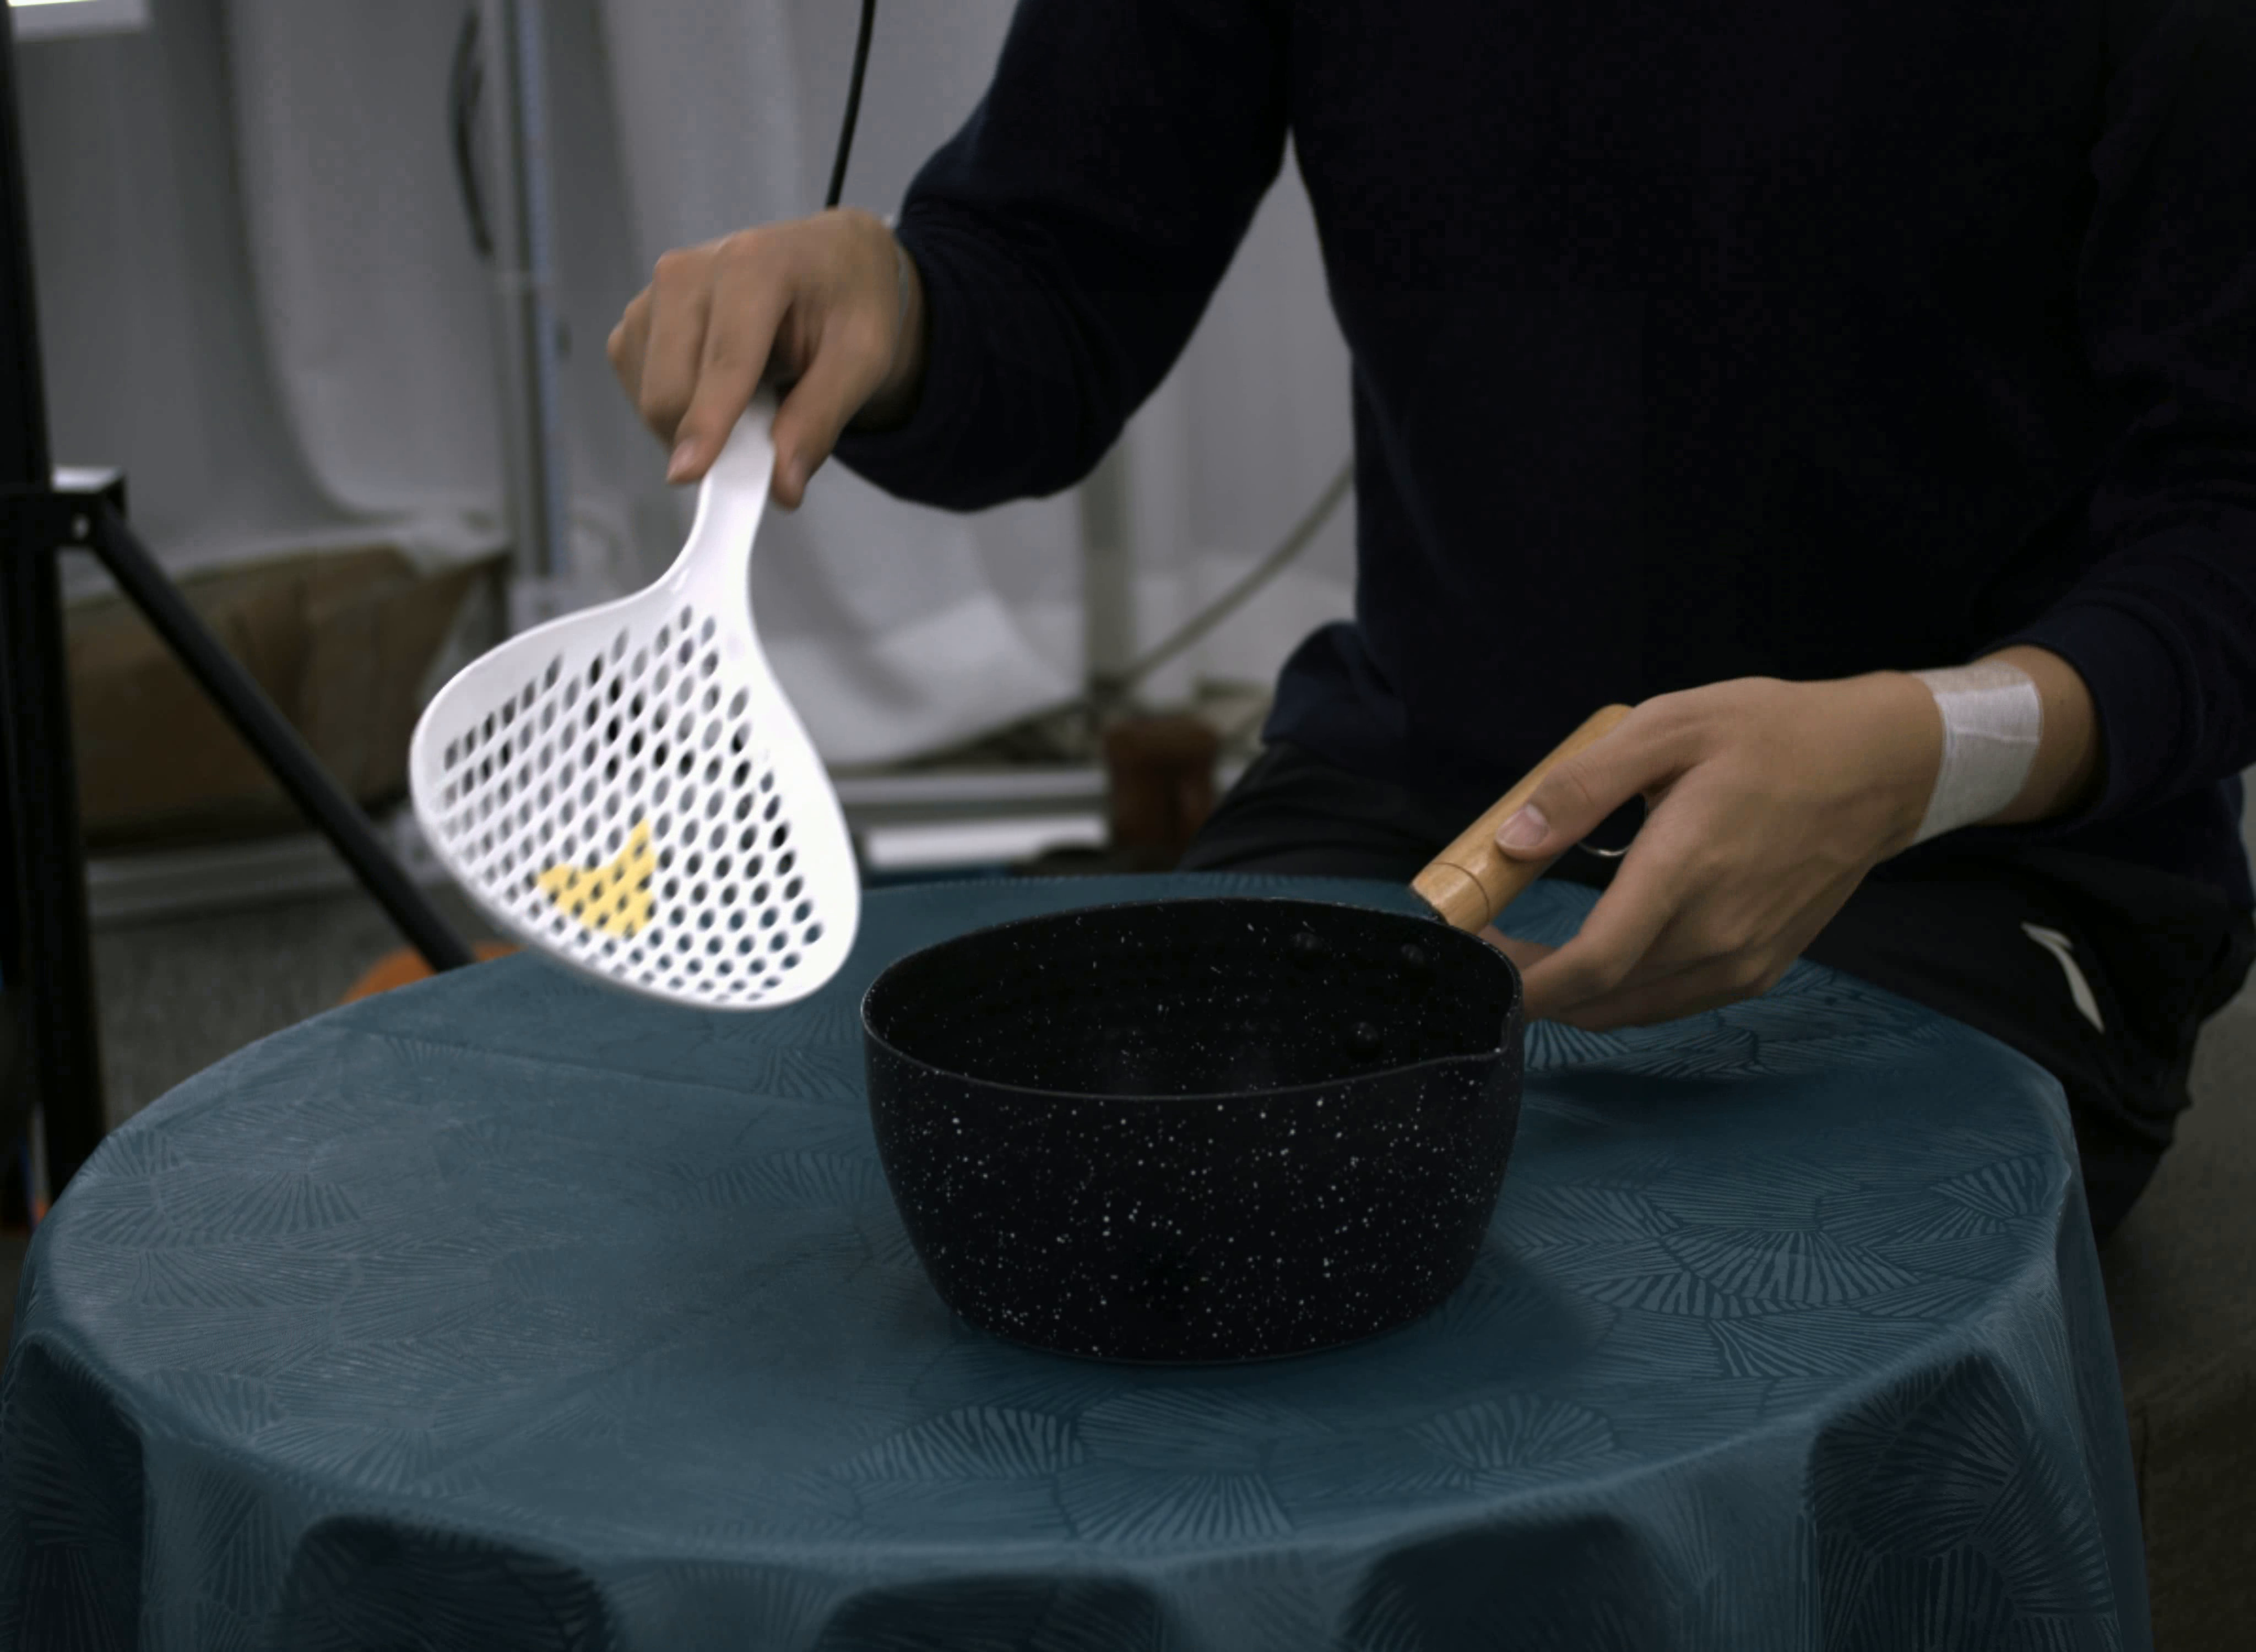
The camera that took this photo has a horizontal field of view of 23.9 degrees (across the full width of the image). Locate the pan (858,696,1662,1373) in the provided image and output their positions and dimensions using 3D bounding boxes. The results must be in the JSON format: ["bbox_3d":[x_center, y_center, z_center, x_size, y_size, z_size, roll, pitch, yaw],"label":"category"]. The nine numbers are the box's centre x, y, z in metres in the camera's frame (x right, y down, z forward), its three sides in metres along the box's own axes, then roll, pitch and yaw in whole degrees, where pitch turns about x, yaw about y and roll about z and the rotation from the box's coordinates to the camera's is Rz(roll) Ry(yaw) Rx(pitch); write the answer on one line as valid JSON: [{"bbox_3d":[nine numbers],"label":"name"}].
[{"bbox_3d":[0.062,0.055,1.536,0.211,0.108,0.336,7,19,34],"label":"pan"}]

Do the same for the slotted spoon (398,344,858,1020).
[{"bbox_3d":[-0.134,-0.055,1.568,0.135,0.050,0.350,22,38,-10],"label":"slotted spoon"}]
